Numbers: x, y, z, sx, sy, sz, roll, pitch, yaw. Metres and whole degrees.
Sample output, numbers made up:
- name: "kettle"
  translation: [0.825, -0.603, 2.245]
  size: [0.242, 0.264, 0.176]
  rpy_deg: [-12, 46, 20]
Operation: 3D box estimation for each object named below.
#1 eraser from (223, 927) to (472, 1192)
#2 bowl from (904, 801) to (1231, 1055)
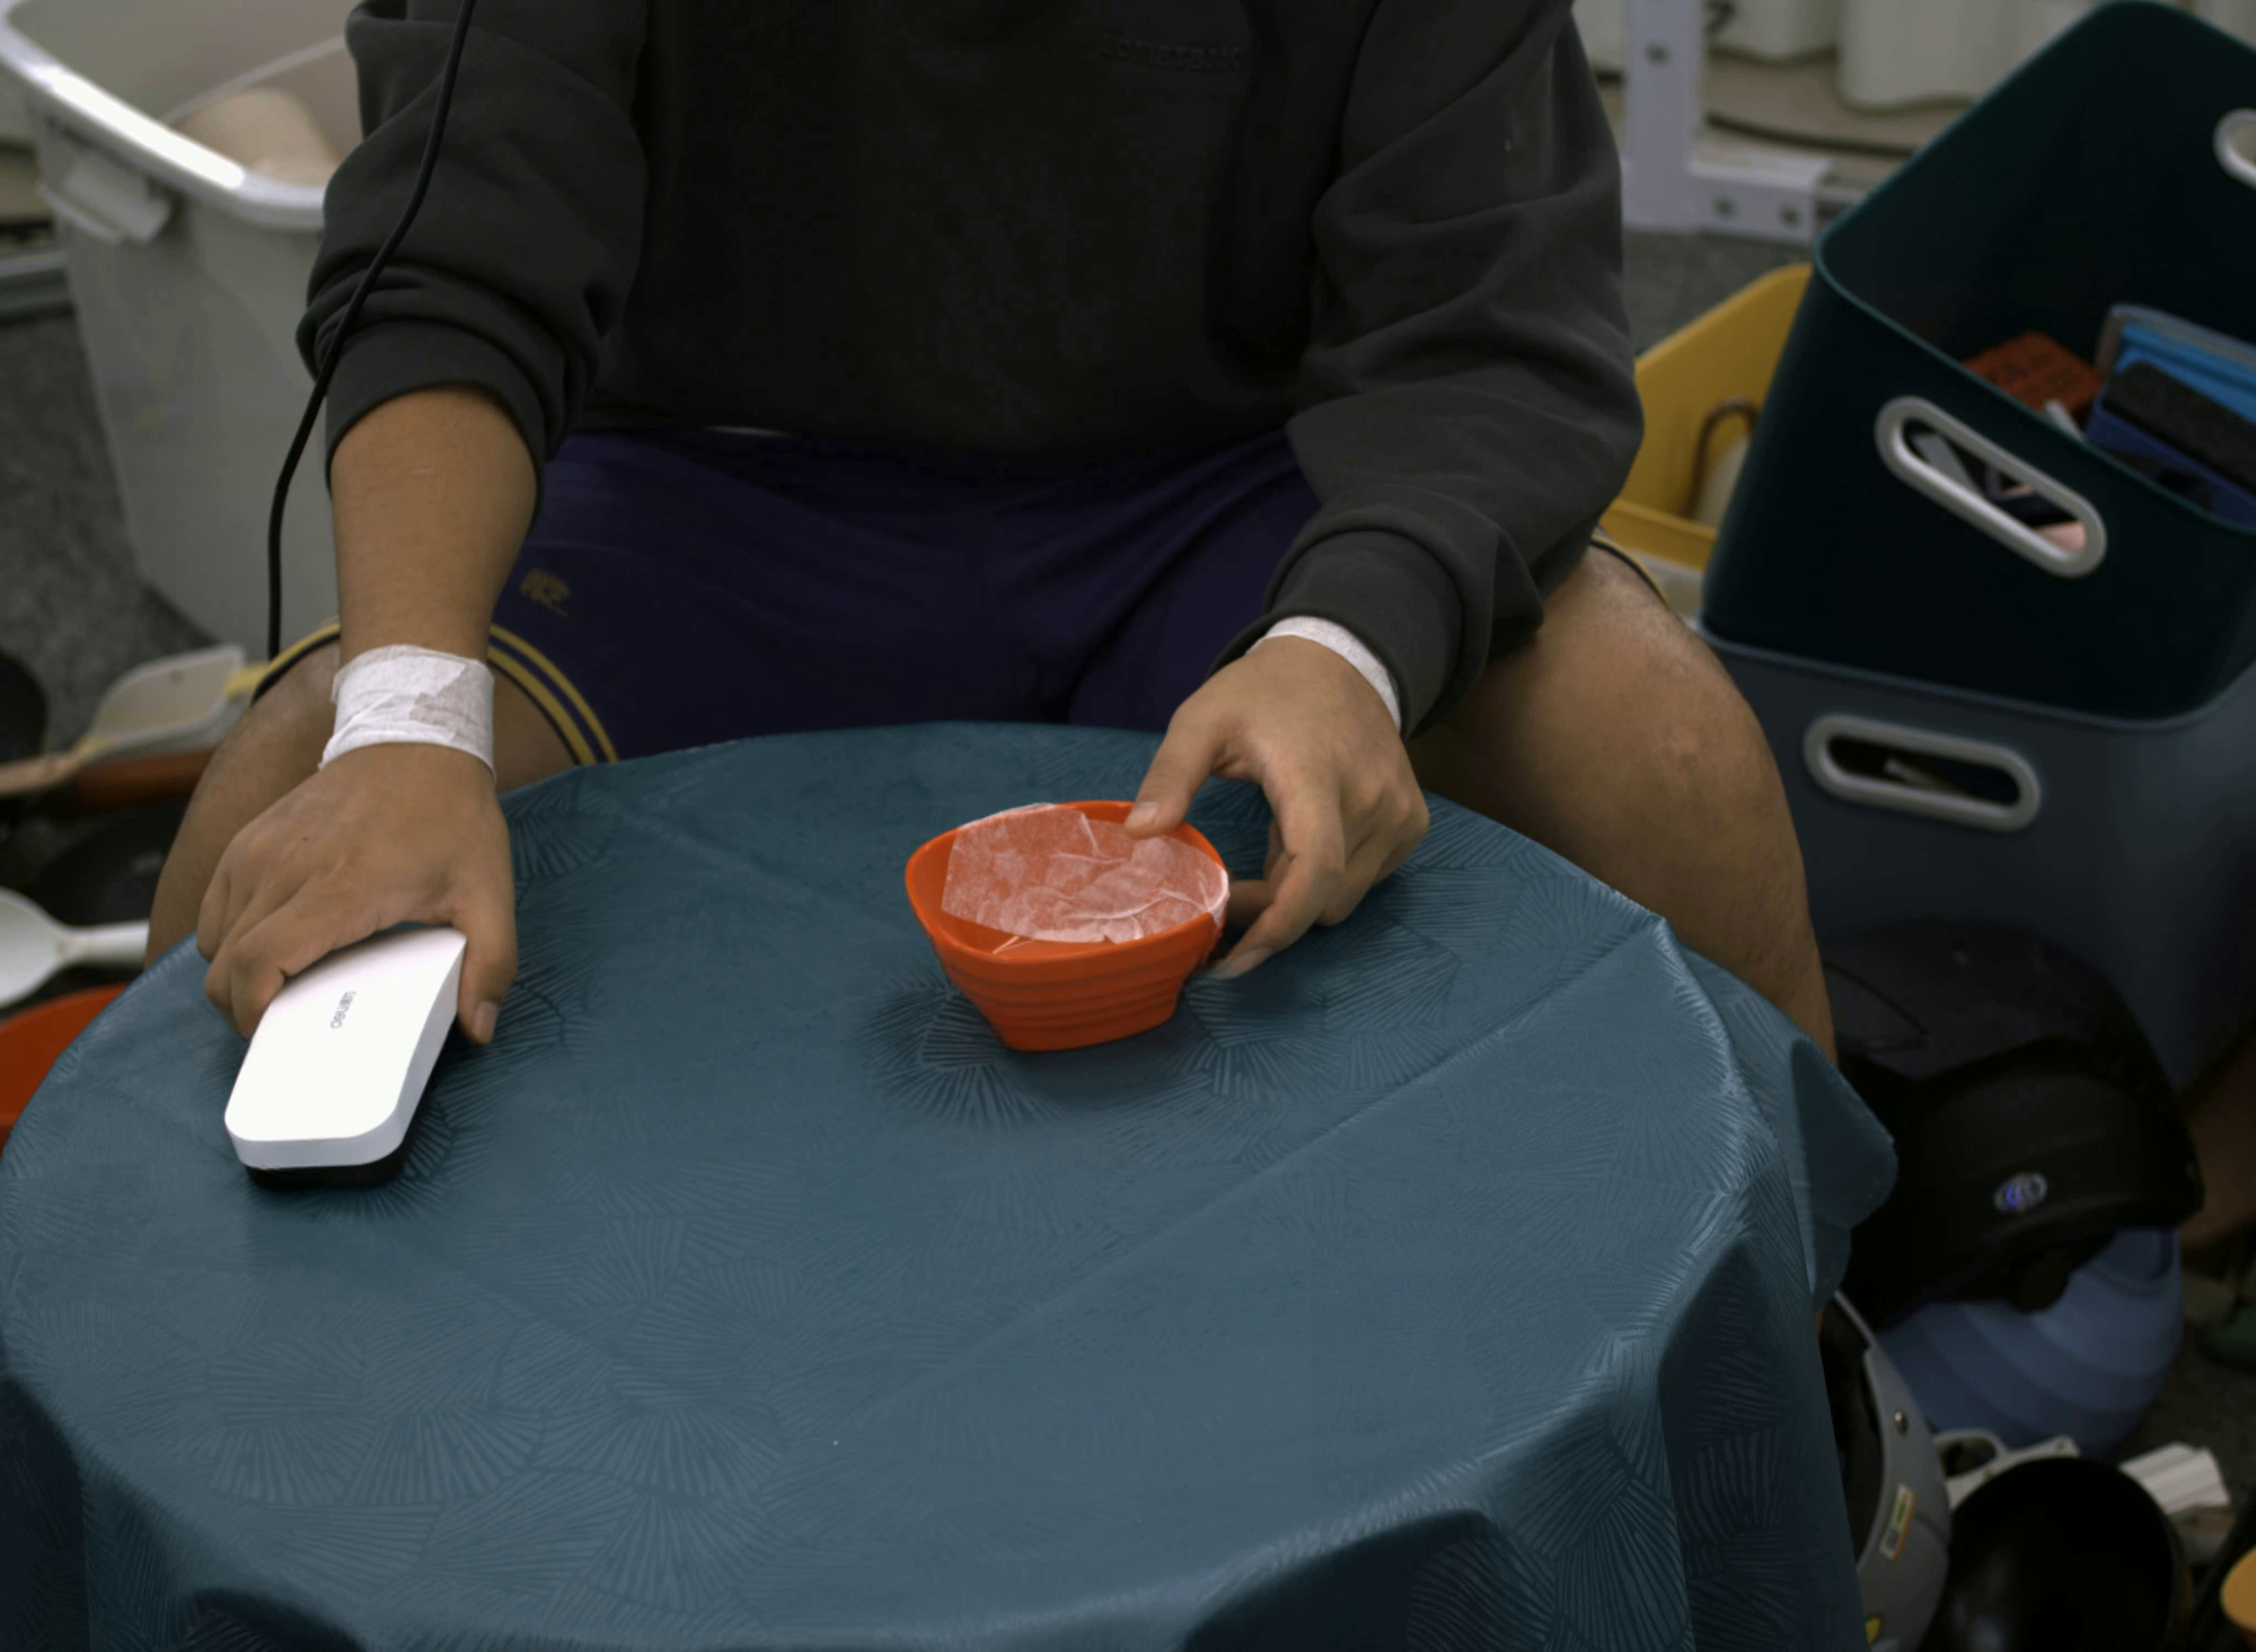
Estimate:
- name: "eraser"
  translation: [-0.265, 0.077, 1.931]
  size: [0.063, 0.034, 0.134]
  rpy_deg: [0, 32, 10]
- name: "bowl"
  translation: [-0.020, 0.040, 1.968]
  size: [0.118, 0.051, 0.121]
  rpy_deg: [-3, 27, 2]
